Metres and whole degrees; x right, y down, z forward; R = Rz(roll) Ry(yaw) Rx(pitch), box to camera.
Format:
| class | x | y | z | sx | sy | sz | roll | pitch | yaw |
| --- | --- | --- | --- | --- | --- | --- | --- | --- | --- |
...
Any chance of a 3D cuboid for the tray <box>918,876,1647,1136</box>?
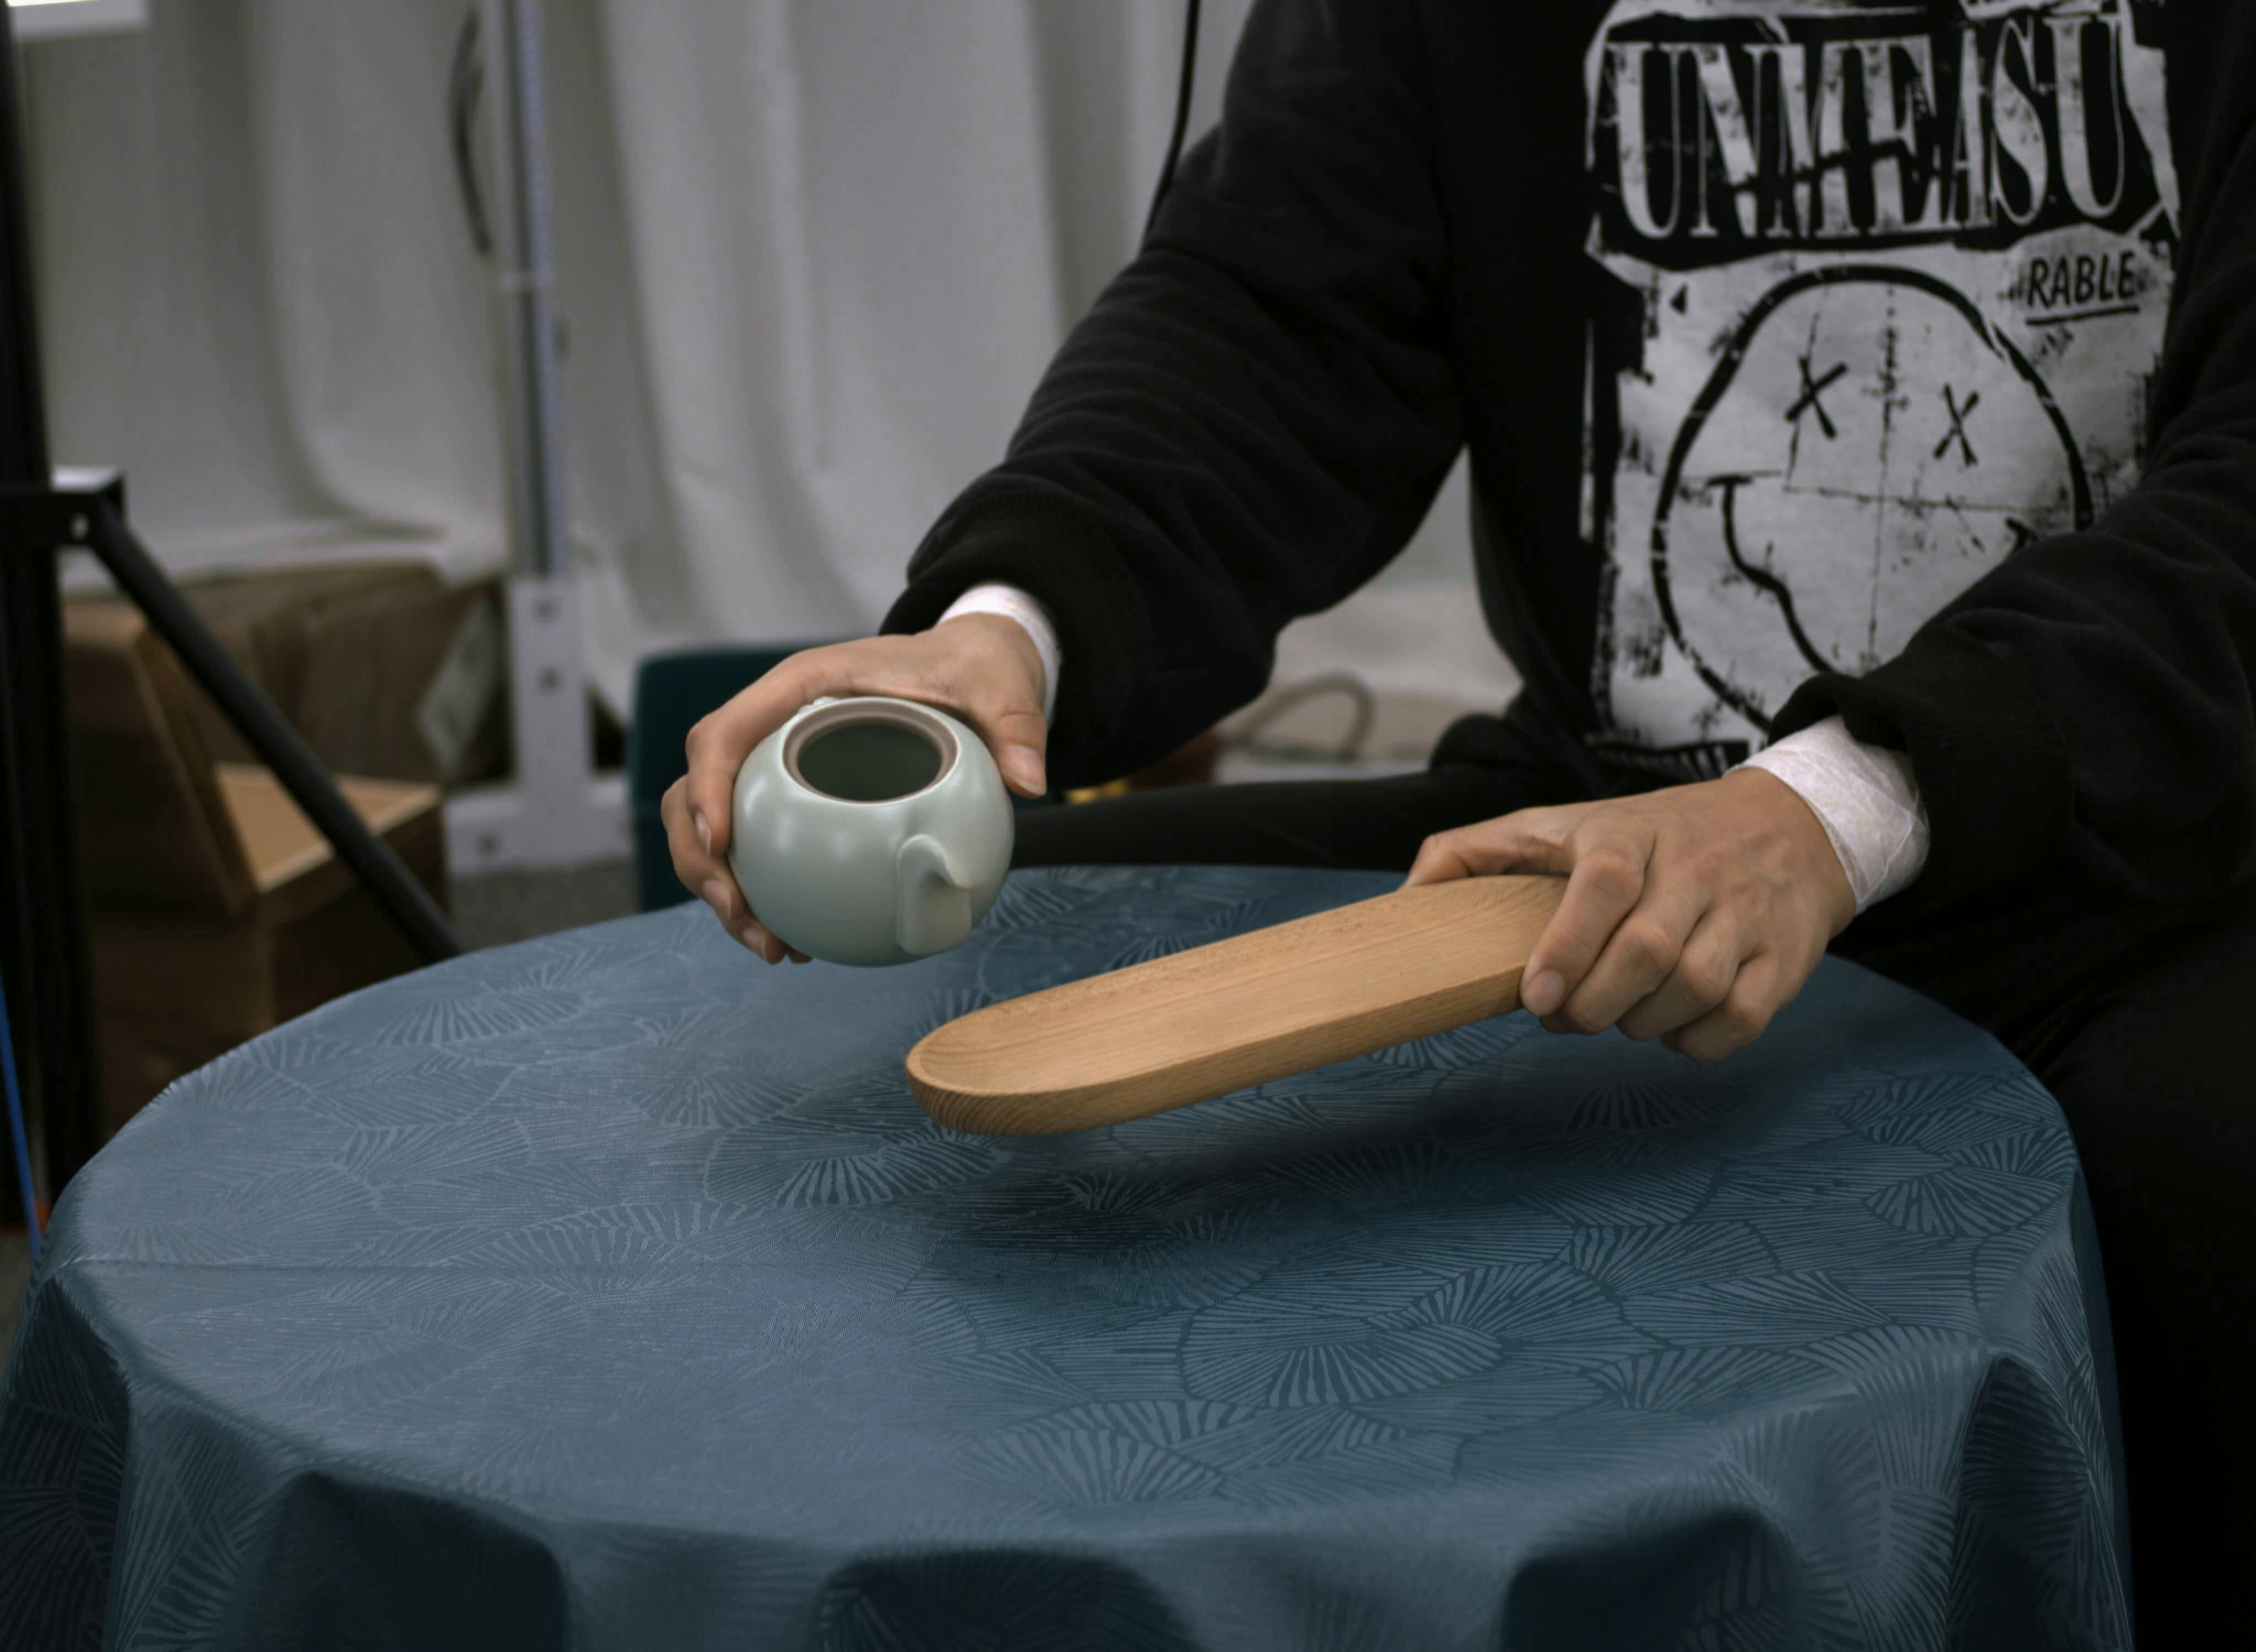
| class | x | y | z | sx | sy | sz | roll | pitch | yaw |
| --- | --- | --- | --- | --- | --- | --- | --- | --- | --- |
| tray | 0.048 | 0.052 | 1.559 | 0.227 | 0.020 | 0.104 | -13 | 17 | -23 |

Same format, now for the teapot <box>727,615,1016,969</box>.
| class | x | y | z | sx | sy | sz | roll | pitch | yaw |
| --- | --- | --- | --- | --- | --- | --- | --- | --- | --- |
| teapot | -0.078 | 0.001 | 1.619 | 0.087 | 0.074 | 0.147 | -13 | 40 | -20 |
